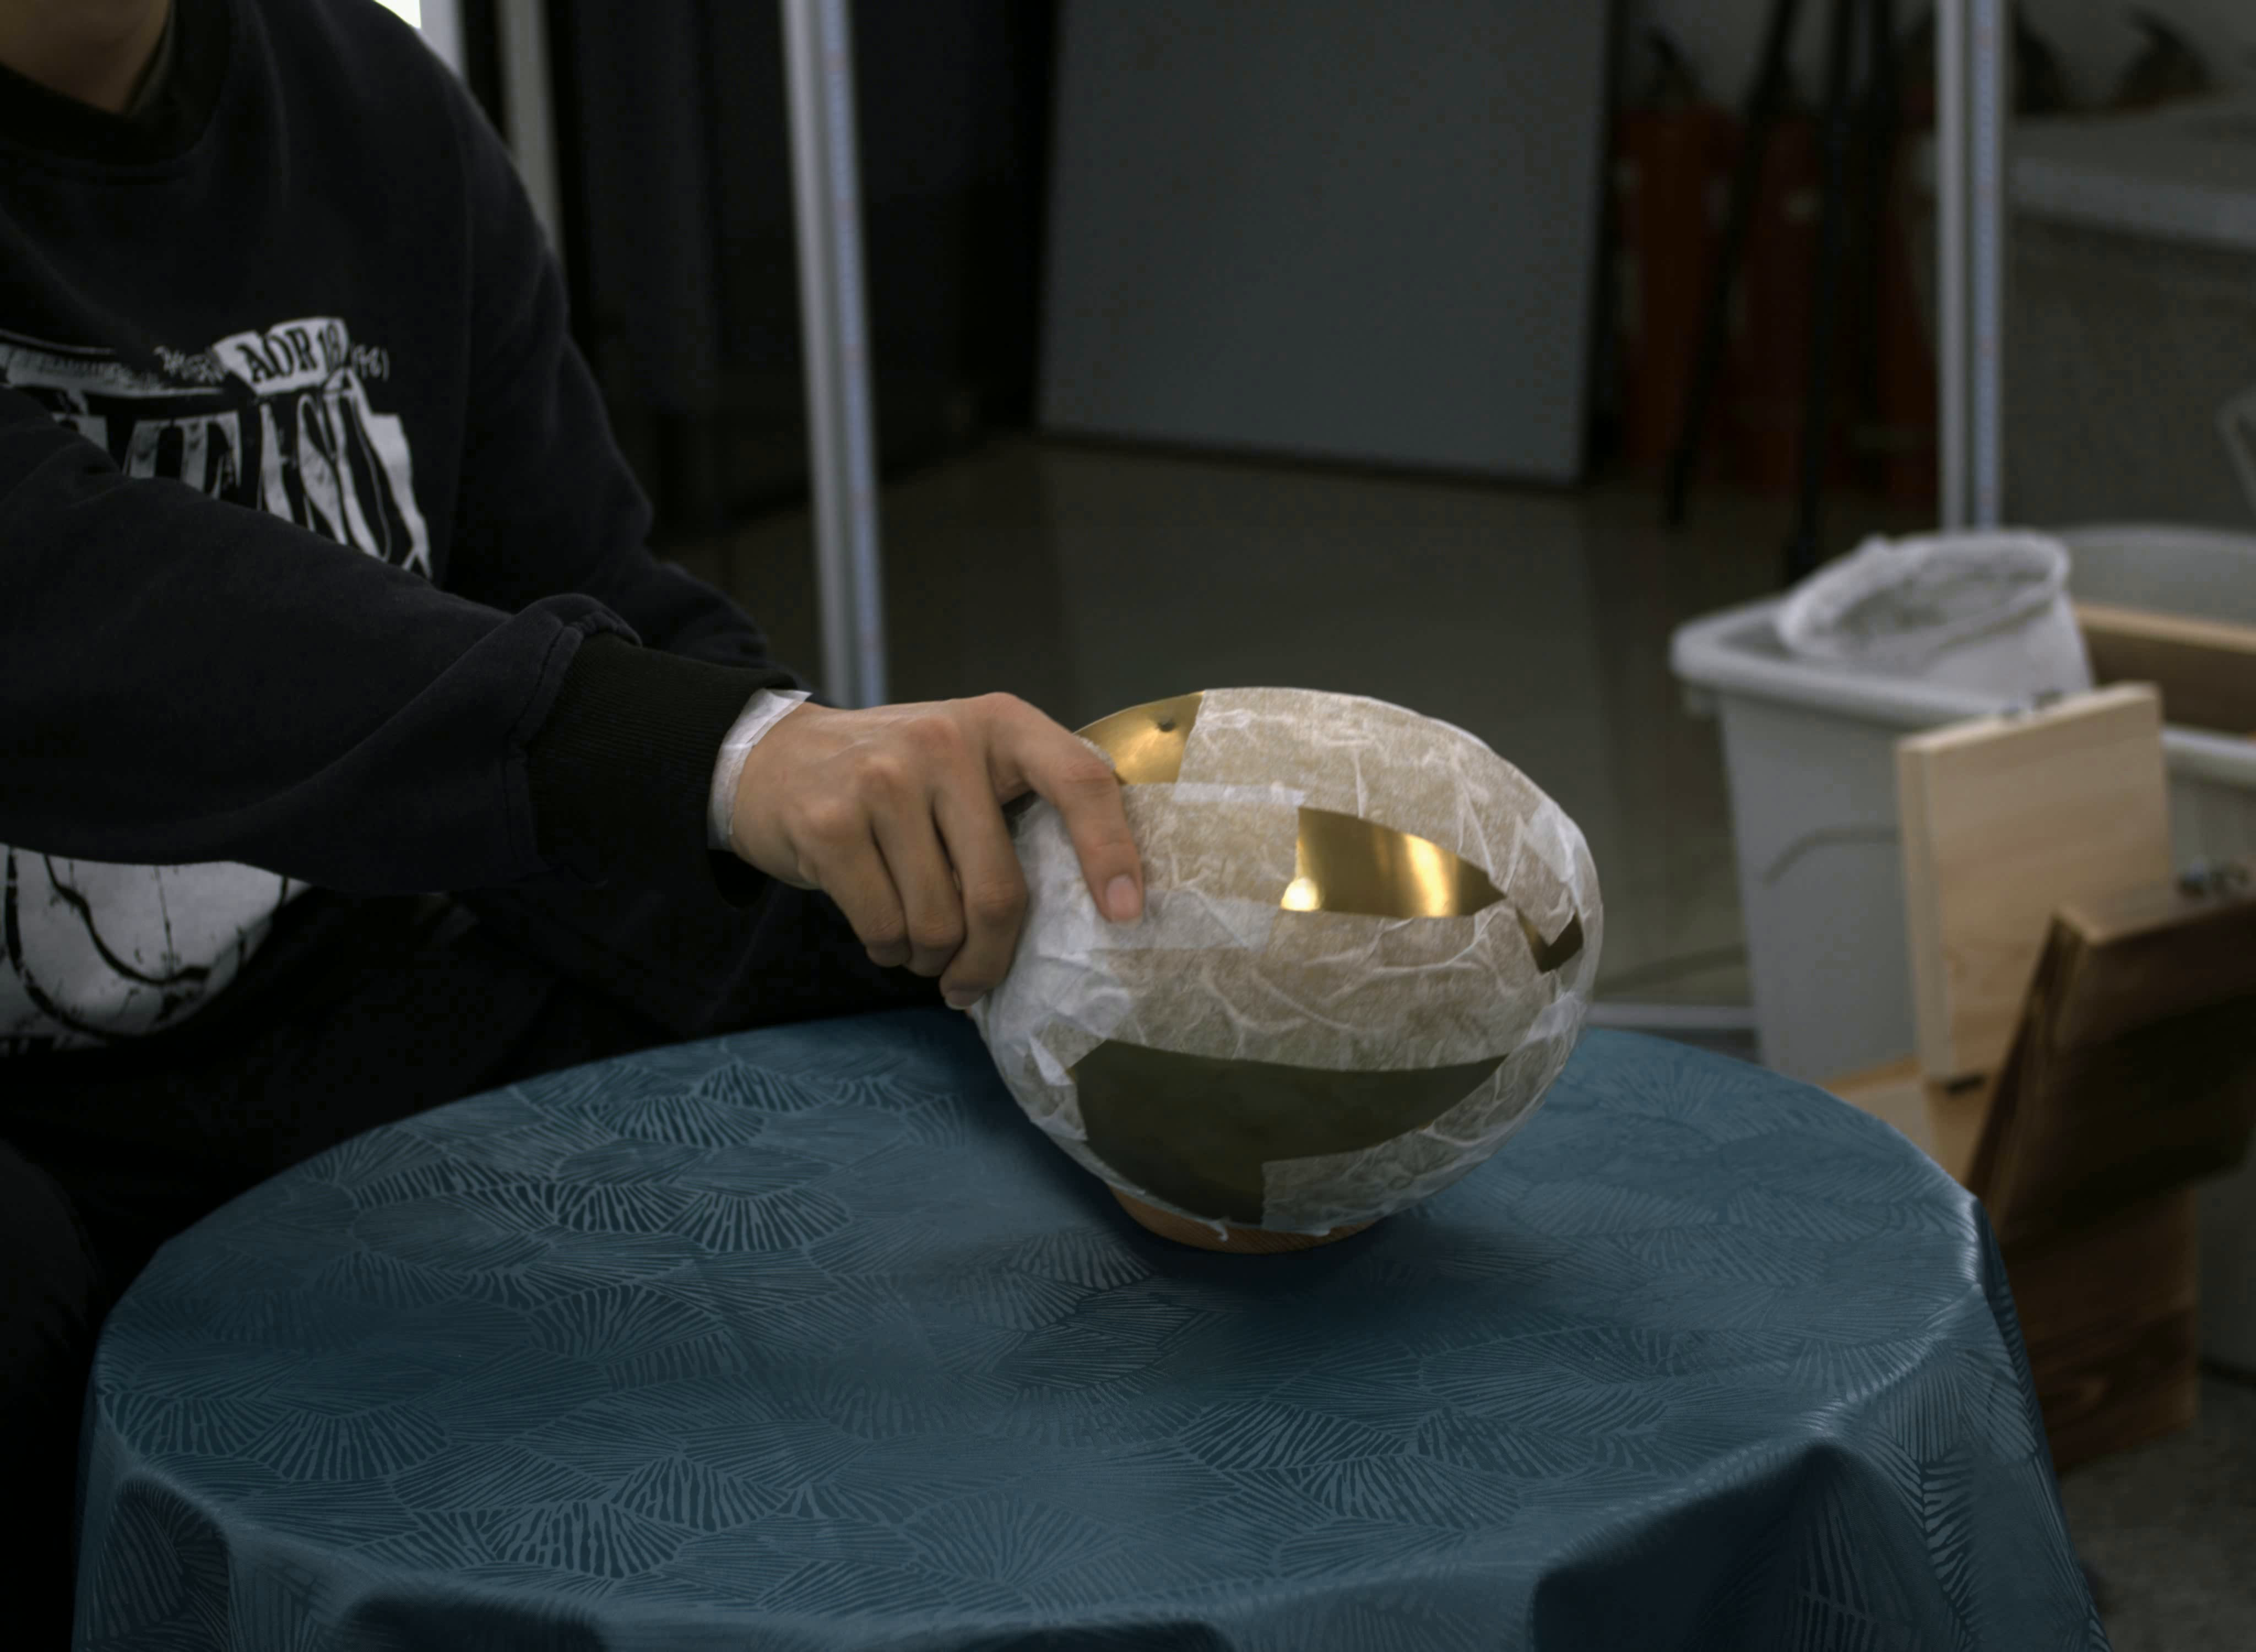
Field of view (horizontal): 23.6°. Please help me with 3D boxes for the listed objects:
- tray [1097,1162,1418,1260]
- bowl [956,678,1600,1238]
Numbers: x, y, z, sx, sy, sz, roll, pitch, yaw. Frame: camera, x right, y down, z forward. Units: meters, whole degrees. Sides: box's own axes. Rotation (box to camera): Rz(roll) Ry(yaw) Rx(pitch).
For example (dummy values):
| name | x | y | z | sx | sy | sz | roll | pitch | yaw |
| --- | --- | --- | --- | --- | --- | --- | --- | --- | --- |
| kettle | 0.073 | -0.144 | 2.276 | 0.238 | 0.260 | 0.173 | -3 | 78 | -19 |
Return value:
| name | x | y | z | sx | sy | sz | roll | pitch | yaw |
| --- | --- | --- | --- | --- | --- | --- | --- | --- | --- |
| tray | 0.026 | 0.085 | 1.794 | 0.100 | 0.020 | 0.233 | -12 | 27 | -14 |
| bowl | 0.042 | 0.061 | 1.635 | 0.213 | 0.215 | 0.095 | -1 | 46 | 9 |
